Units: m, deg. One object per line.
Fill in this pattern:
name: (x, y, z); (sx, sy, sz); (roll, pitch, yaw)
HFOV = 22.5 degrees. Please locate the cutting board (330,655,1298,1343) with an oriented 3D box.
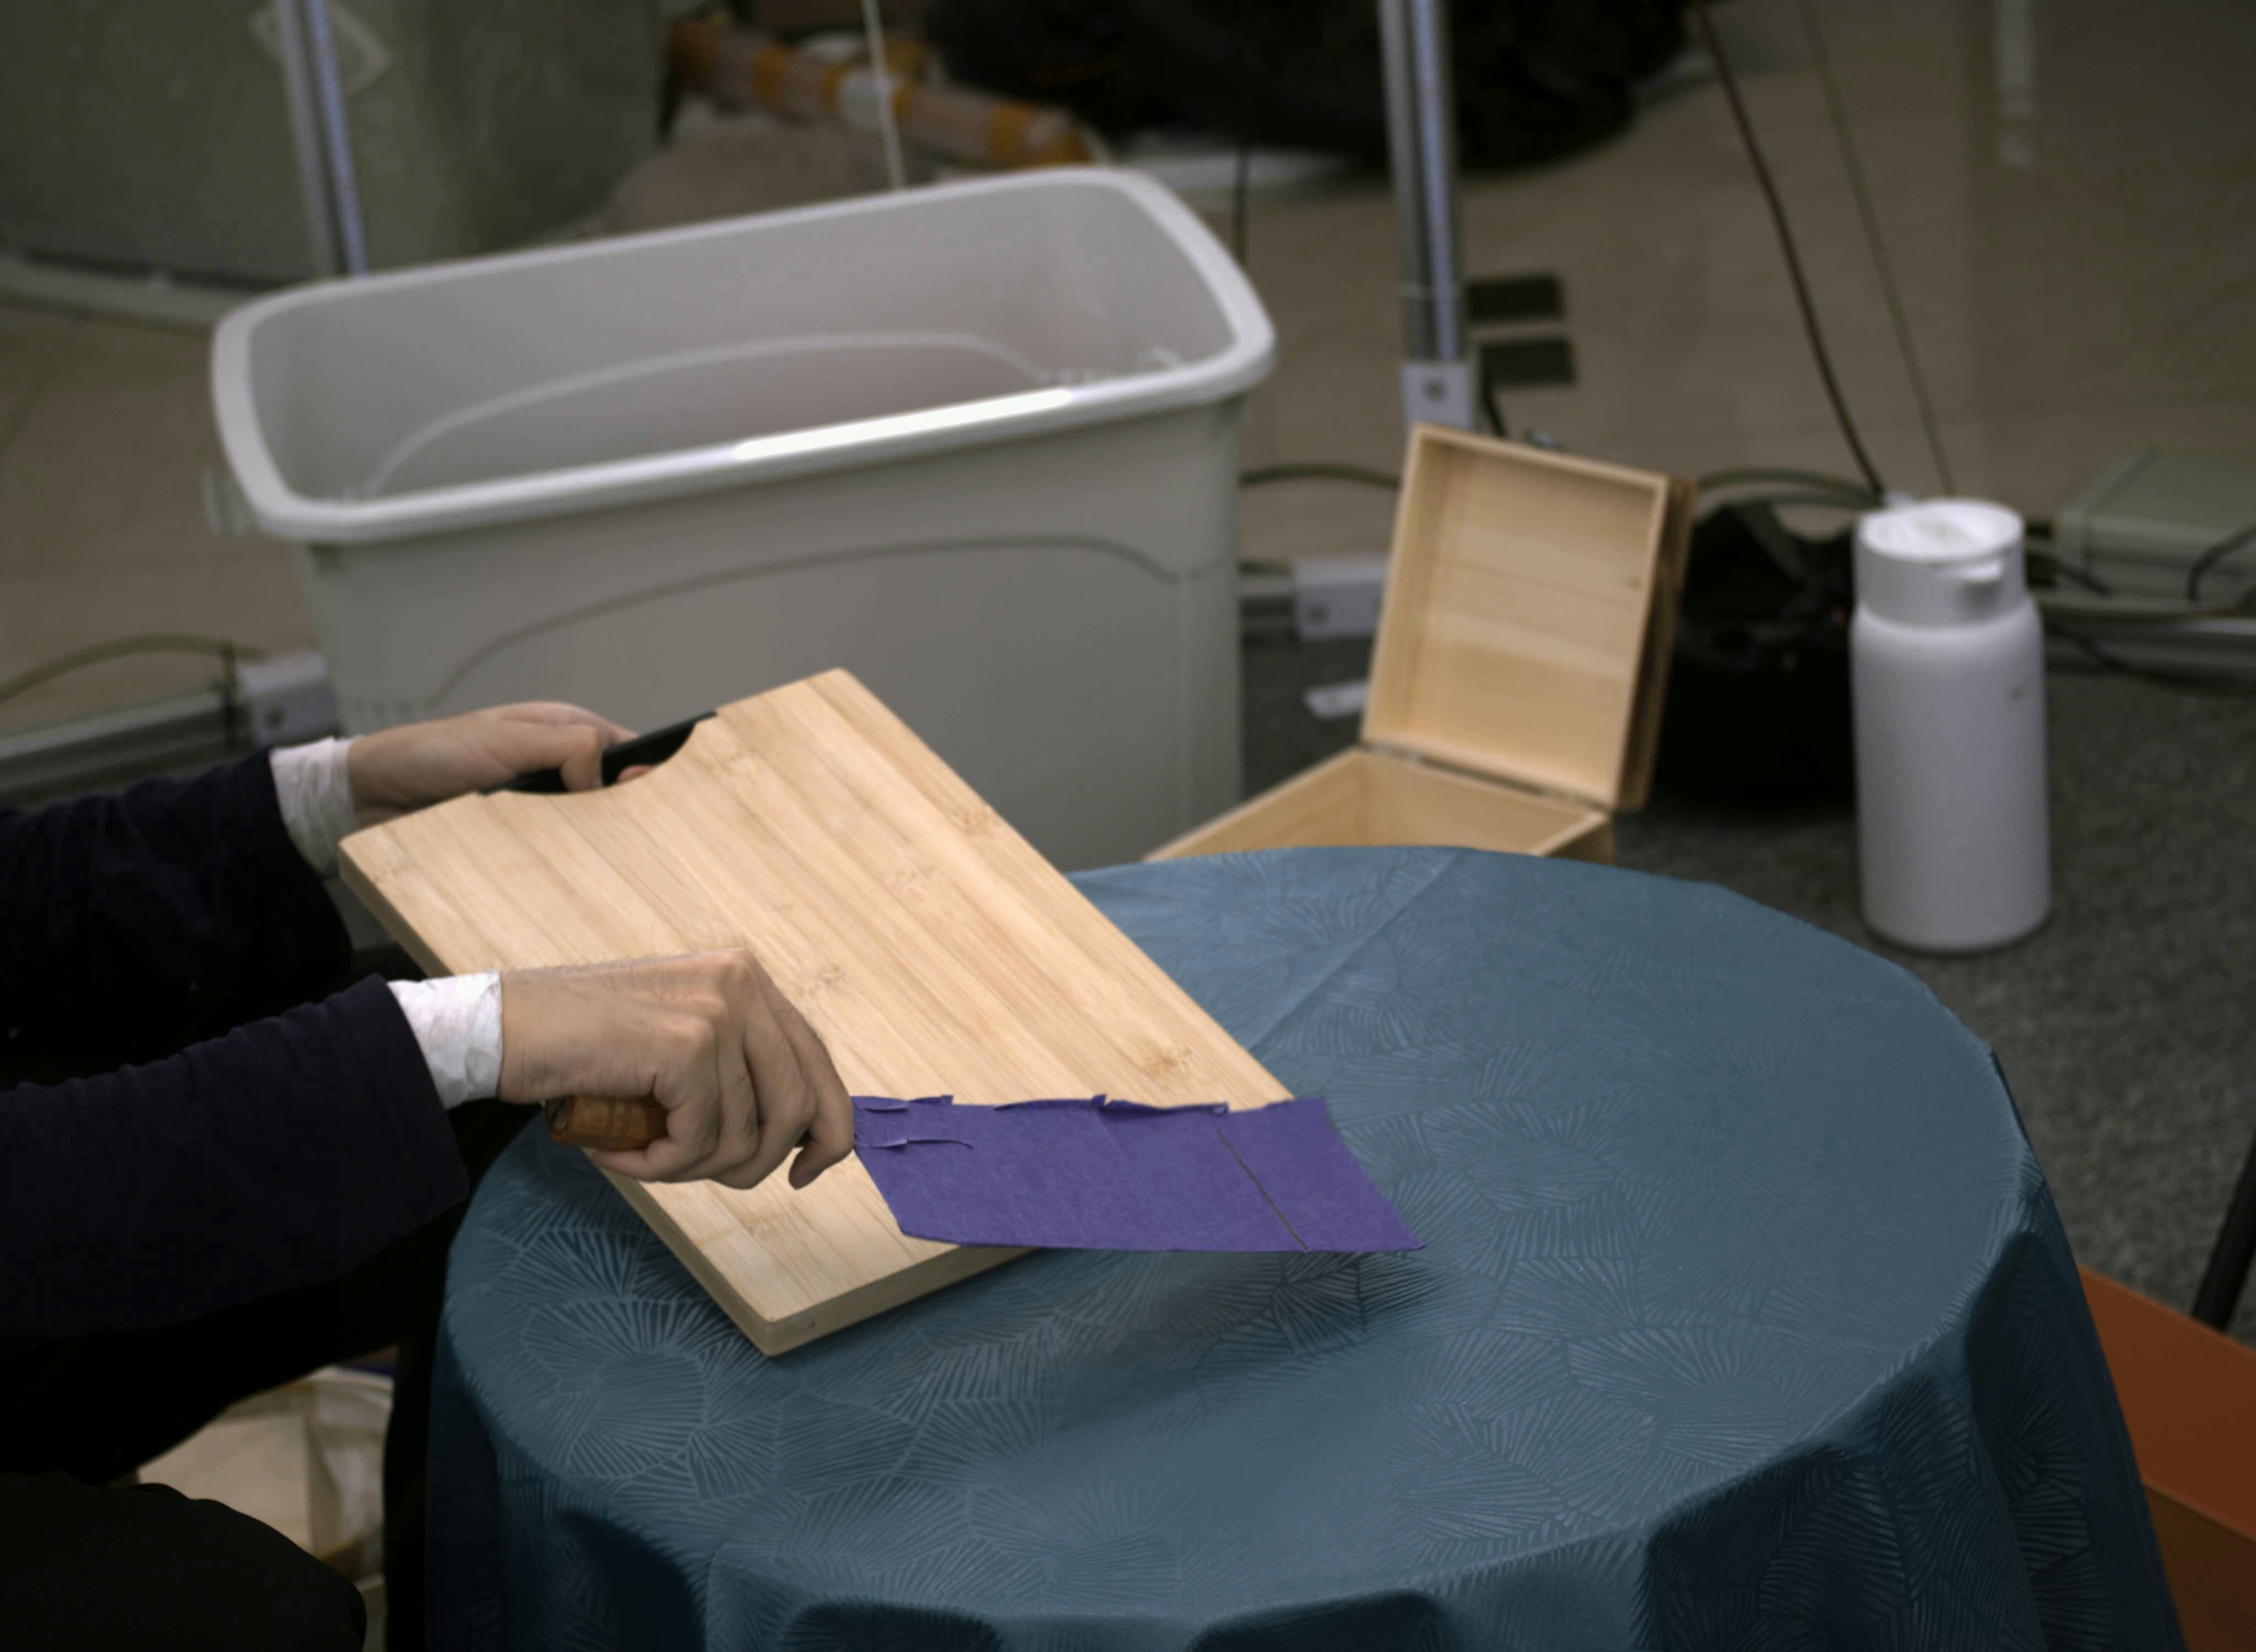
cutting board: (-0.128, 0.061, 2.226); (0.249, 0.024, 0.344); (-21, 44, -28)

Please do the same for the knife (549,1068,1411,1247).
knife: (-0.046, 0.118, 2.013); (0.315, 0.032, 0.102); (2, 29, -28)
